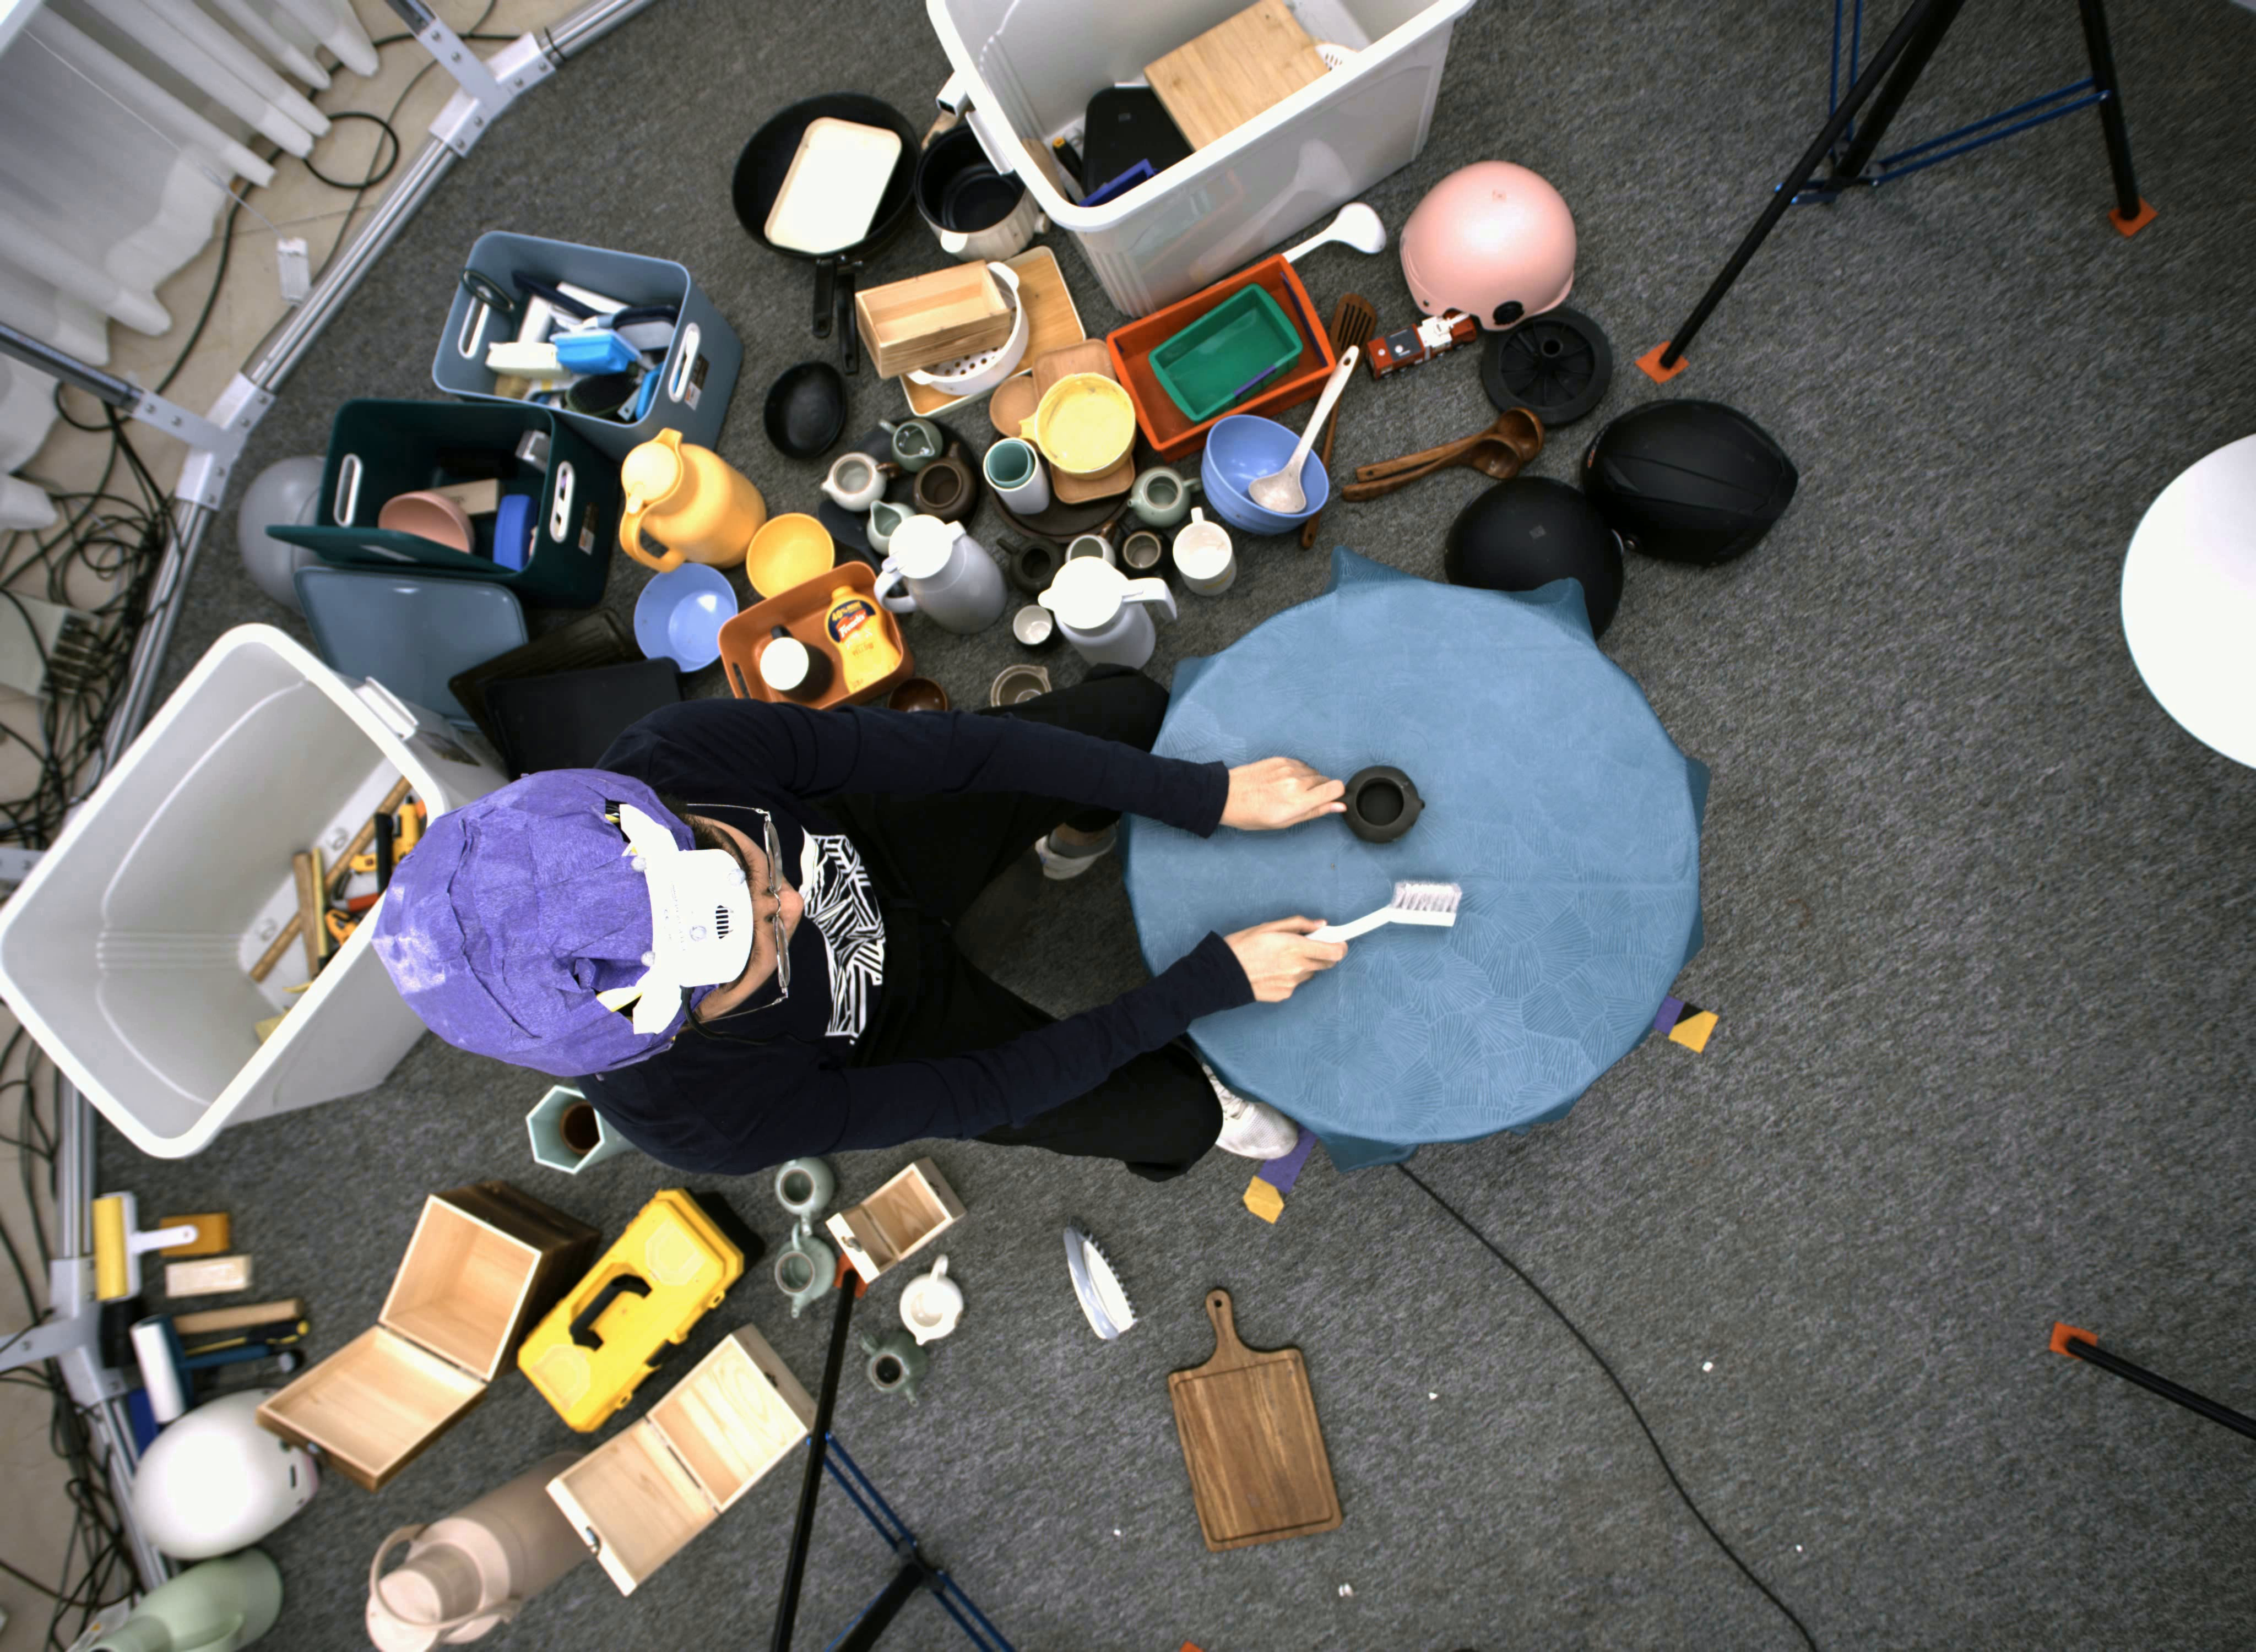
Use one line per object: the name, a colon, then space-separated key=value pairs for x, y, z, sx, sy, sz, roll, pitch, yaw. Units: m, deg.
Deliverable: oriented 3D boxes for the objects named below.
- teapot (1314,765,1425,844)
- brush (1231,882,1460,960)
teapot: x=0.252 y=-0.025 z=1.441 sx=0.114 sy=0.053 sz=0.083 roll=5 pitch=88 yaw=10
brush: x=0.222 y=0.095 z=1.430 sx=0.245 sy=0.033 sz=0.051 roll=-11 pitch=117 yaw=12
